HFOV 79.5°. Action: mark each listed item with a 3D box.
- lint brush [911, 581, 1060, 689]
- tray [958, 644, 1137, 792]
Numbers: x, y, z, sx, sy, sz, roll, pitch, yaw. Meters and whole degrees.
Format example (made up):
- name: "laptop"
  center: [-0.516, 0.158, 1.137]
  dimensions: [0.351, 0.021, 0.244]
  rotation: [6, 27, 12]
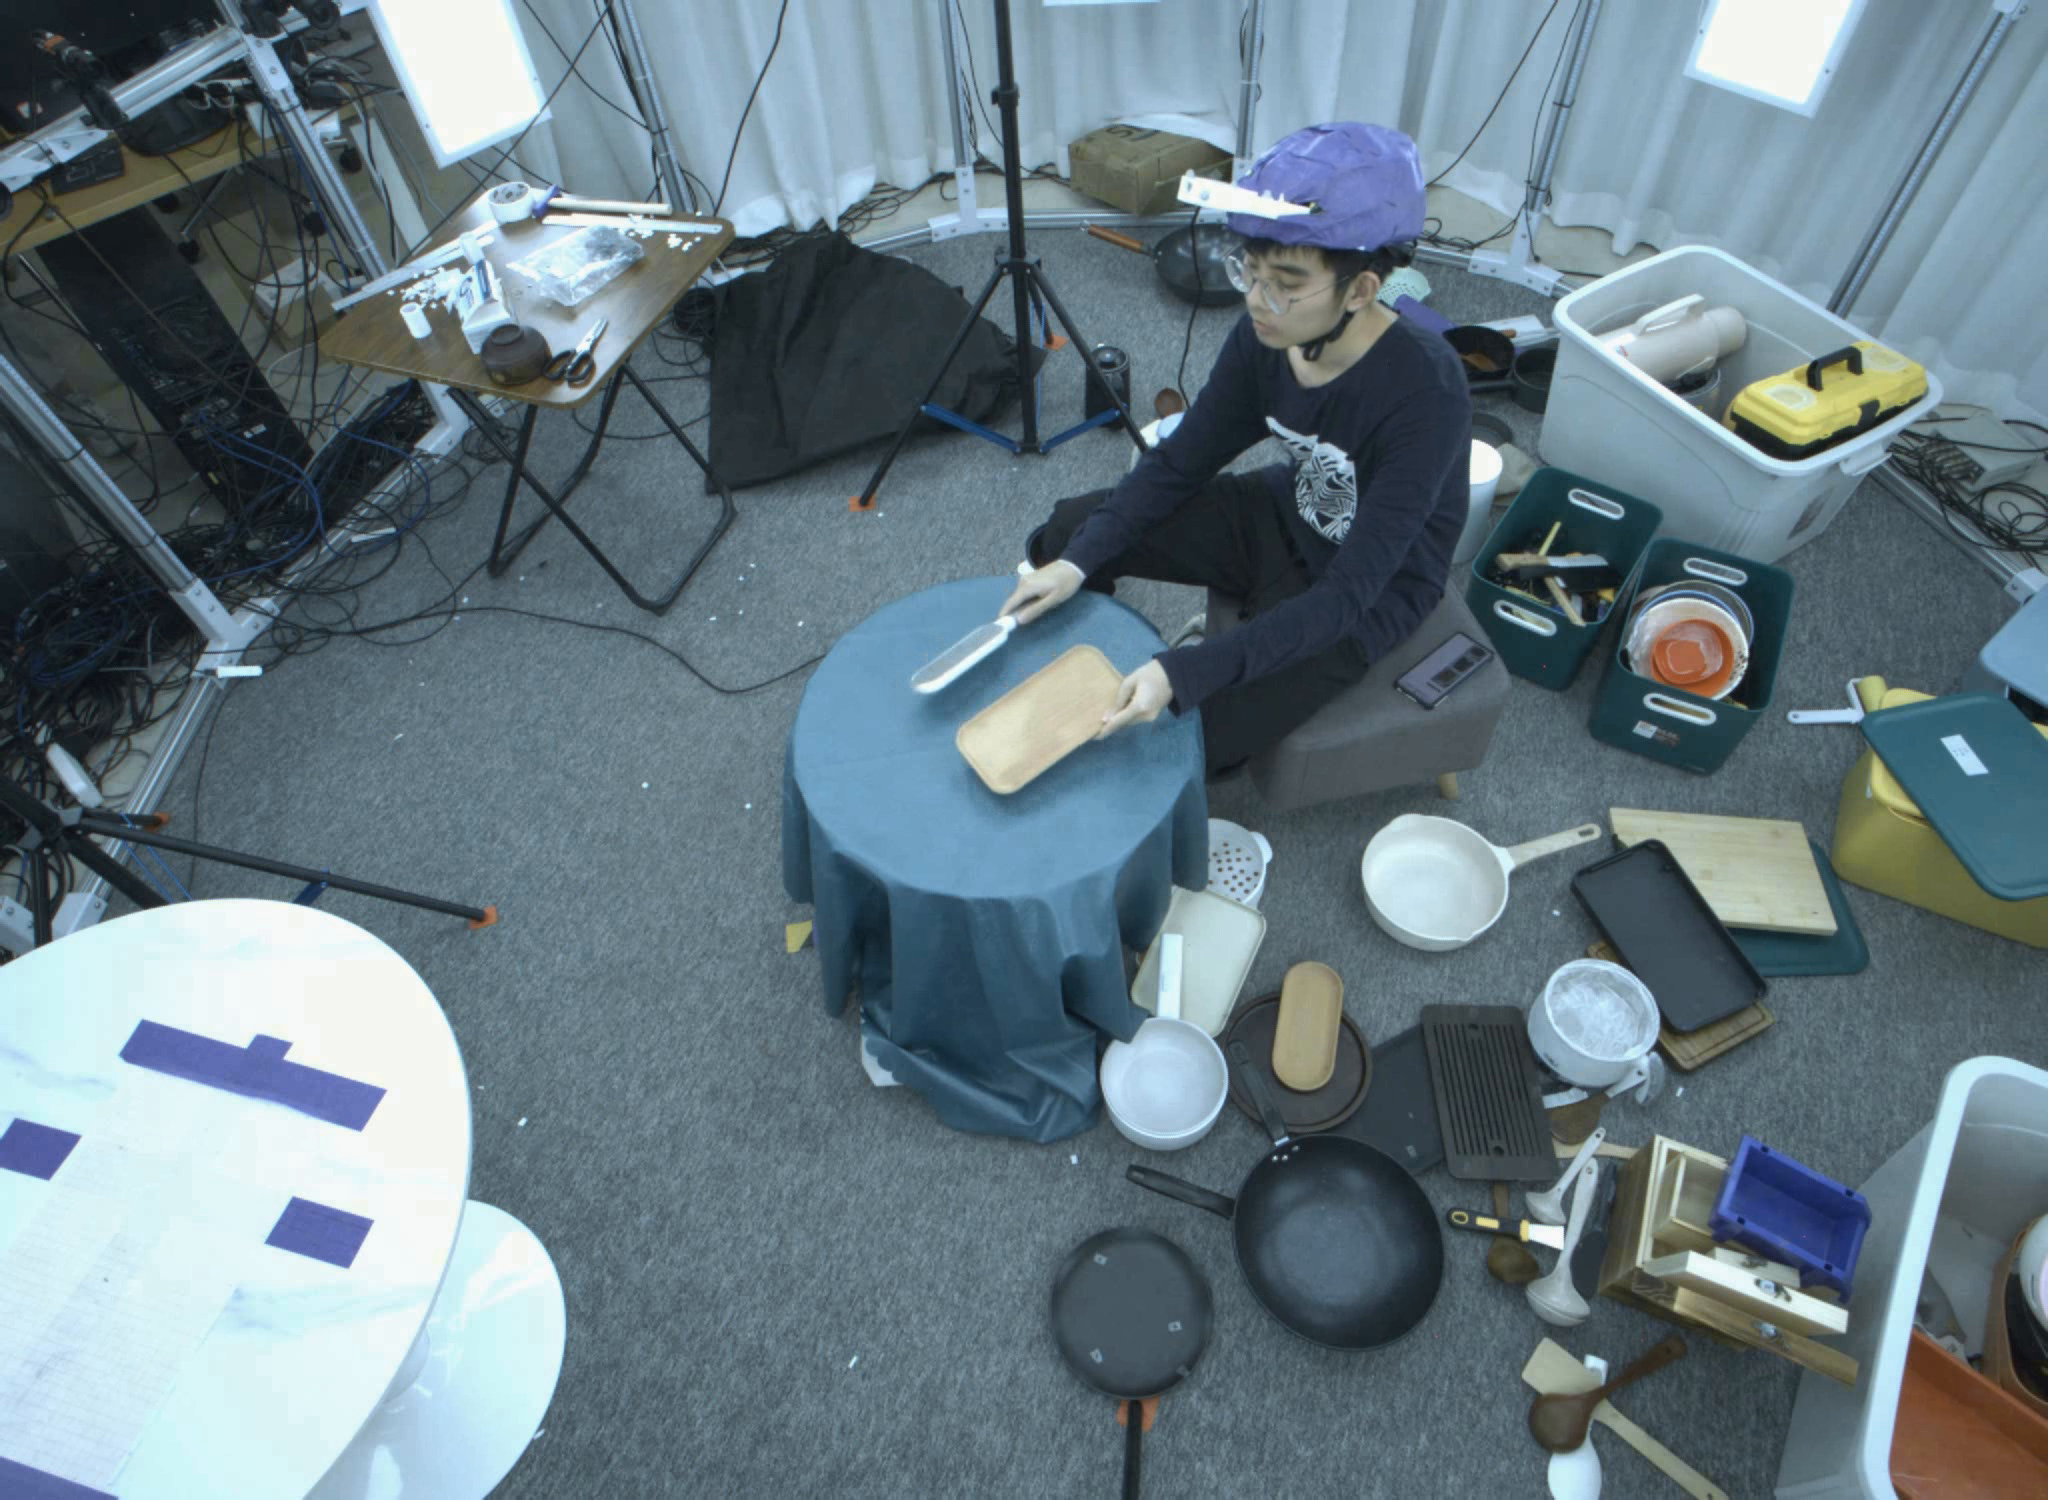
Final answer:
- name: "lint brush"
  center: [-0.053, -0.178, 1.866]
  dimensions: [0.311, 0.021, 0.058]
  rotation: [-39, 32, -30]
- name: "tray"
  center: [0.034, -0.046, 1.752]
  dimensions: [0.252, 0.023, 0.129]
  rotation: [-33, 73, -11]
